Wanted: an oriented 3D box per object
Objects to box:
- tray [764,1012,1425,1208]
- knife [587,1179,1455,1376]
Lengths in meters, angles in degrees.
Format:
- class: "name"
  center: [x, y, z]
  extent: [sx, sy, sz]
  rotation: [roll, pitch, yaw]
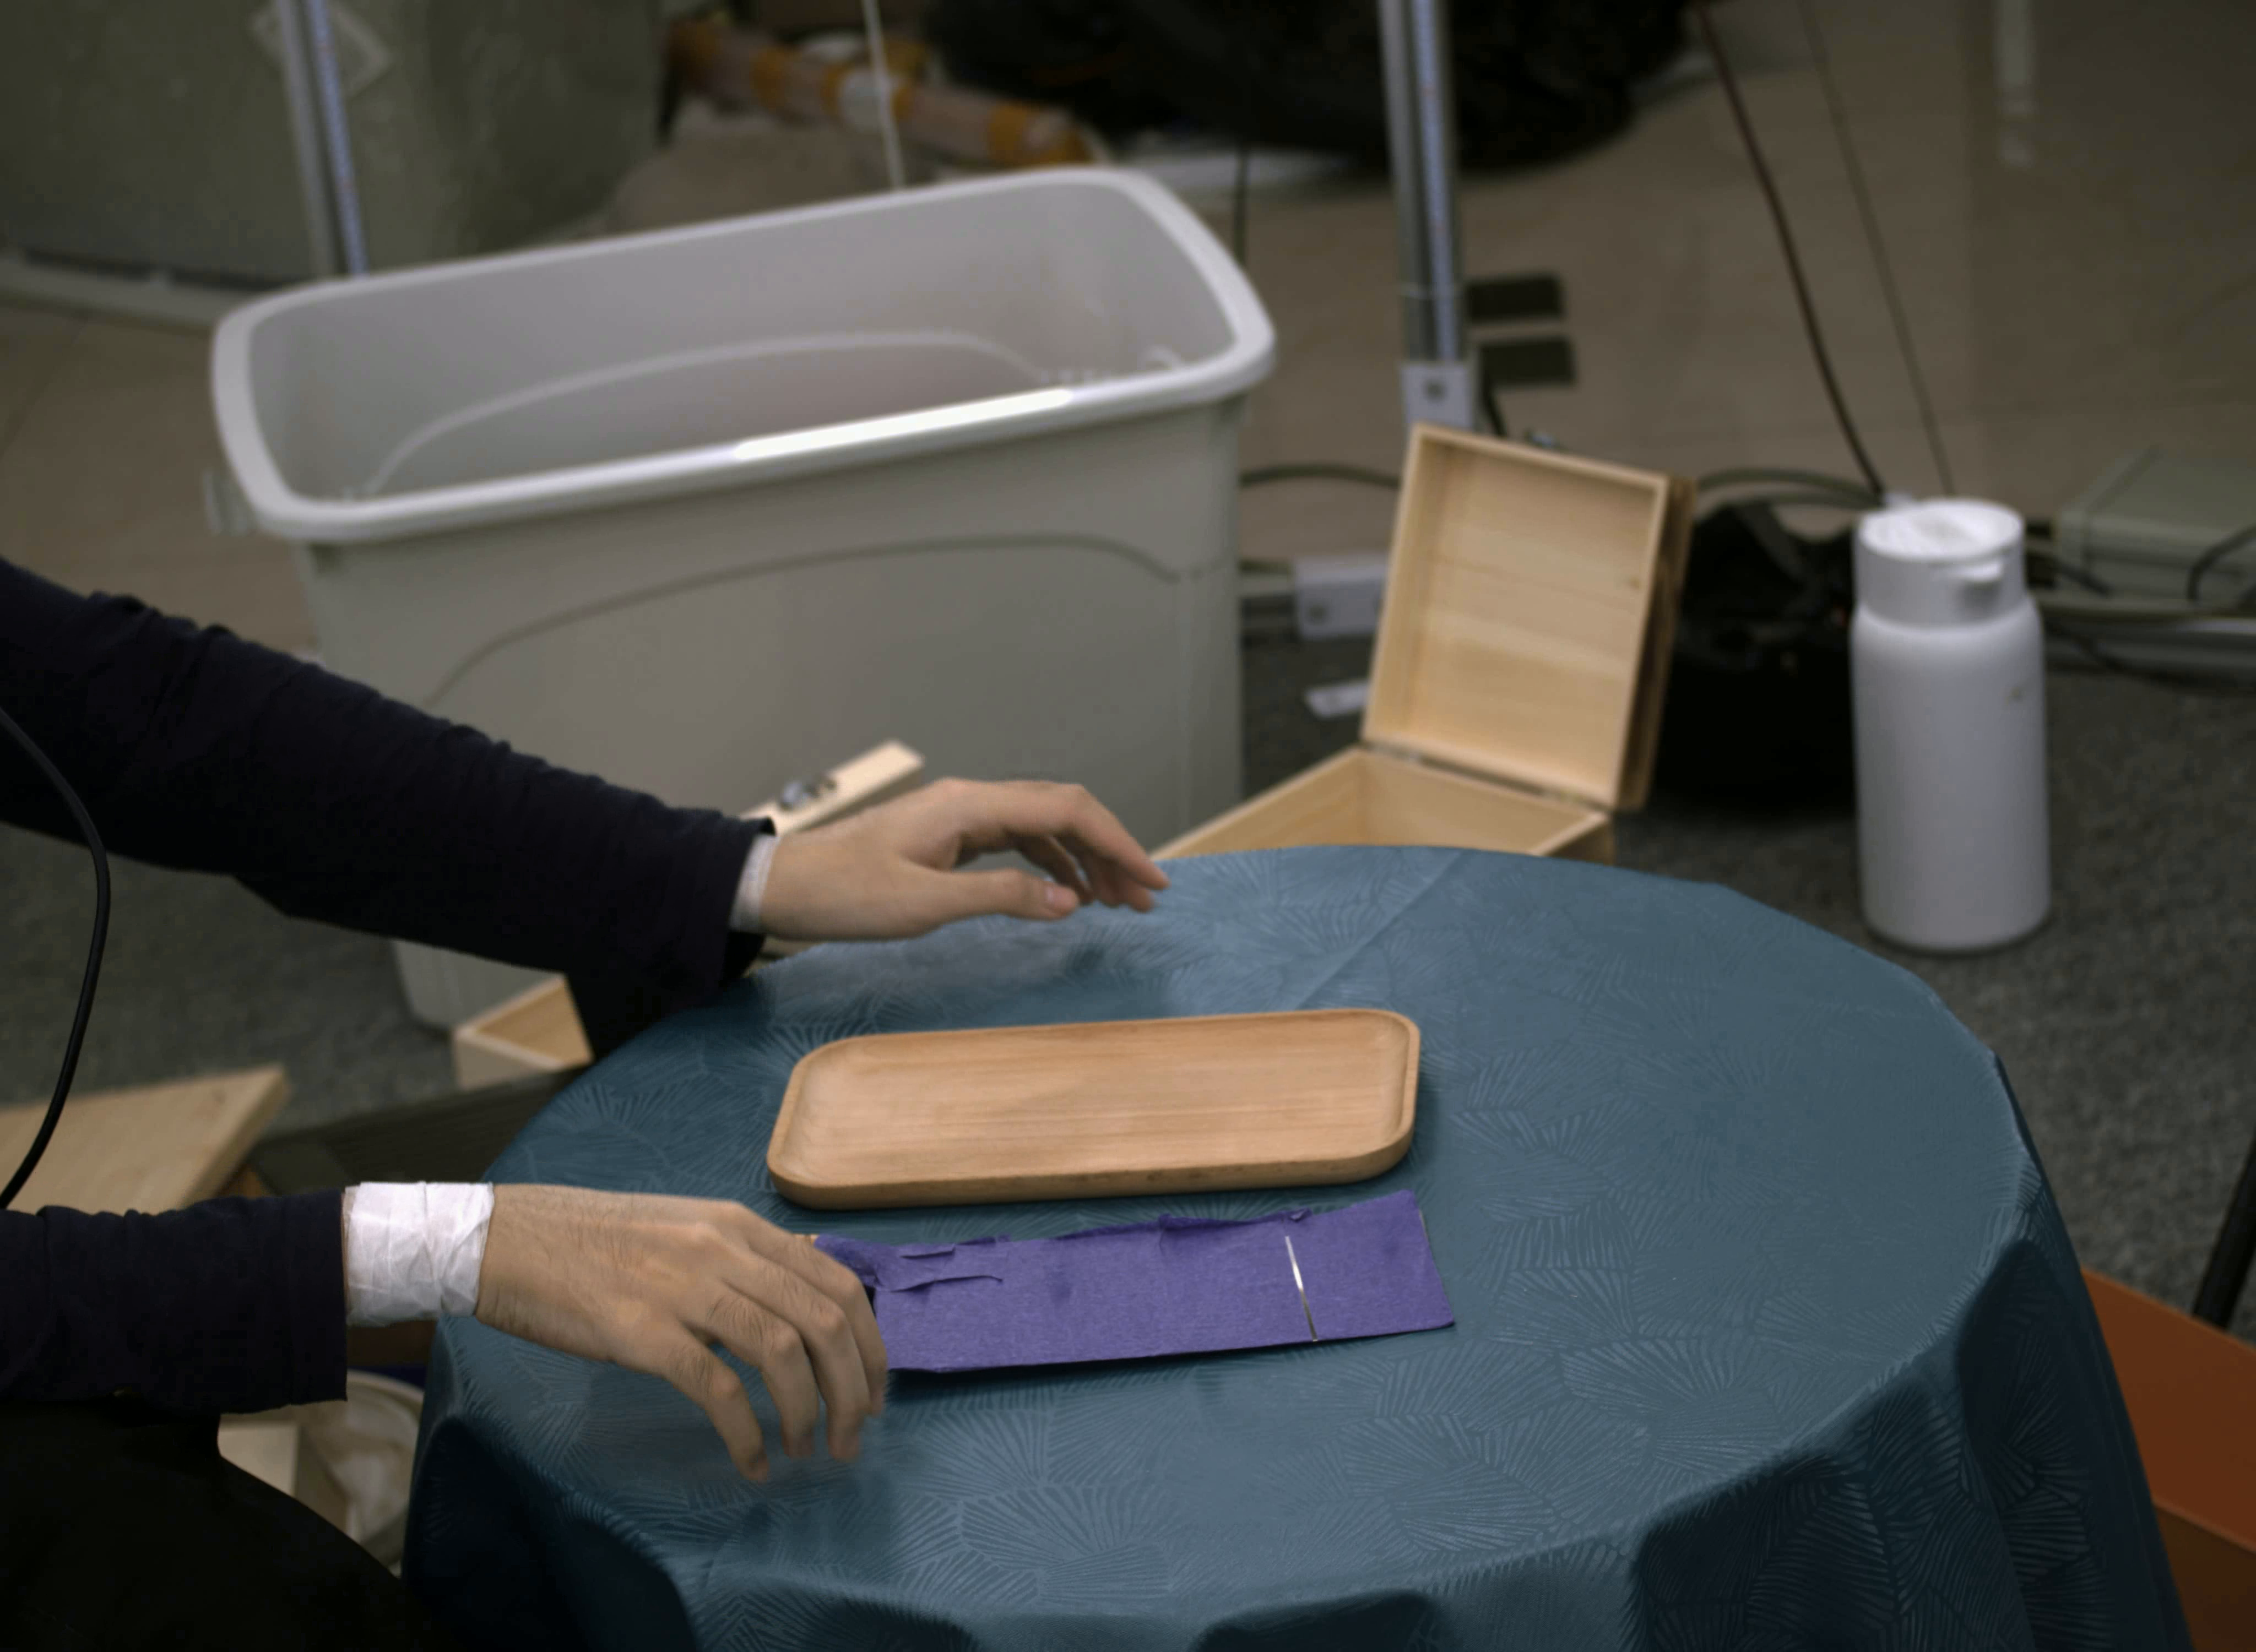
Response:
- class: "tray"
  center: [-0.011, 0.110, 2.196]
  extent: [0.250, 0.023, 0.128]
  rotation: [-2, 27, 9]
- class: "knife"
  center: [-0.041, 0.168, 2.067]
  extent: [0.315, 0.033, 0.102]
  rotation: [-7, 24, -2]
